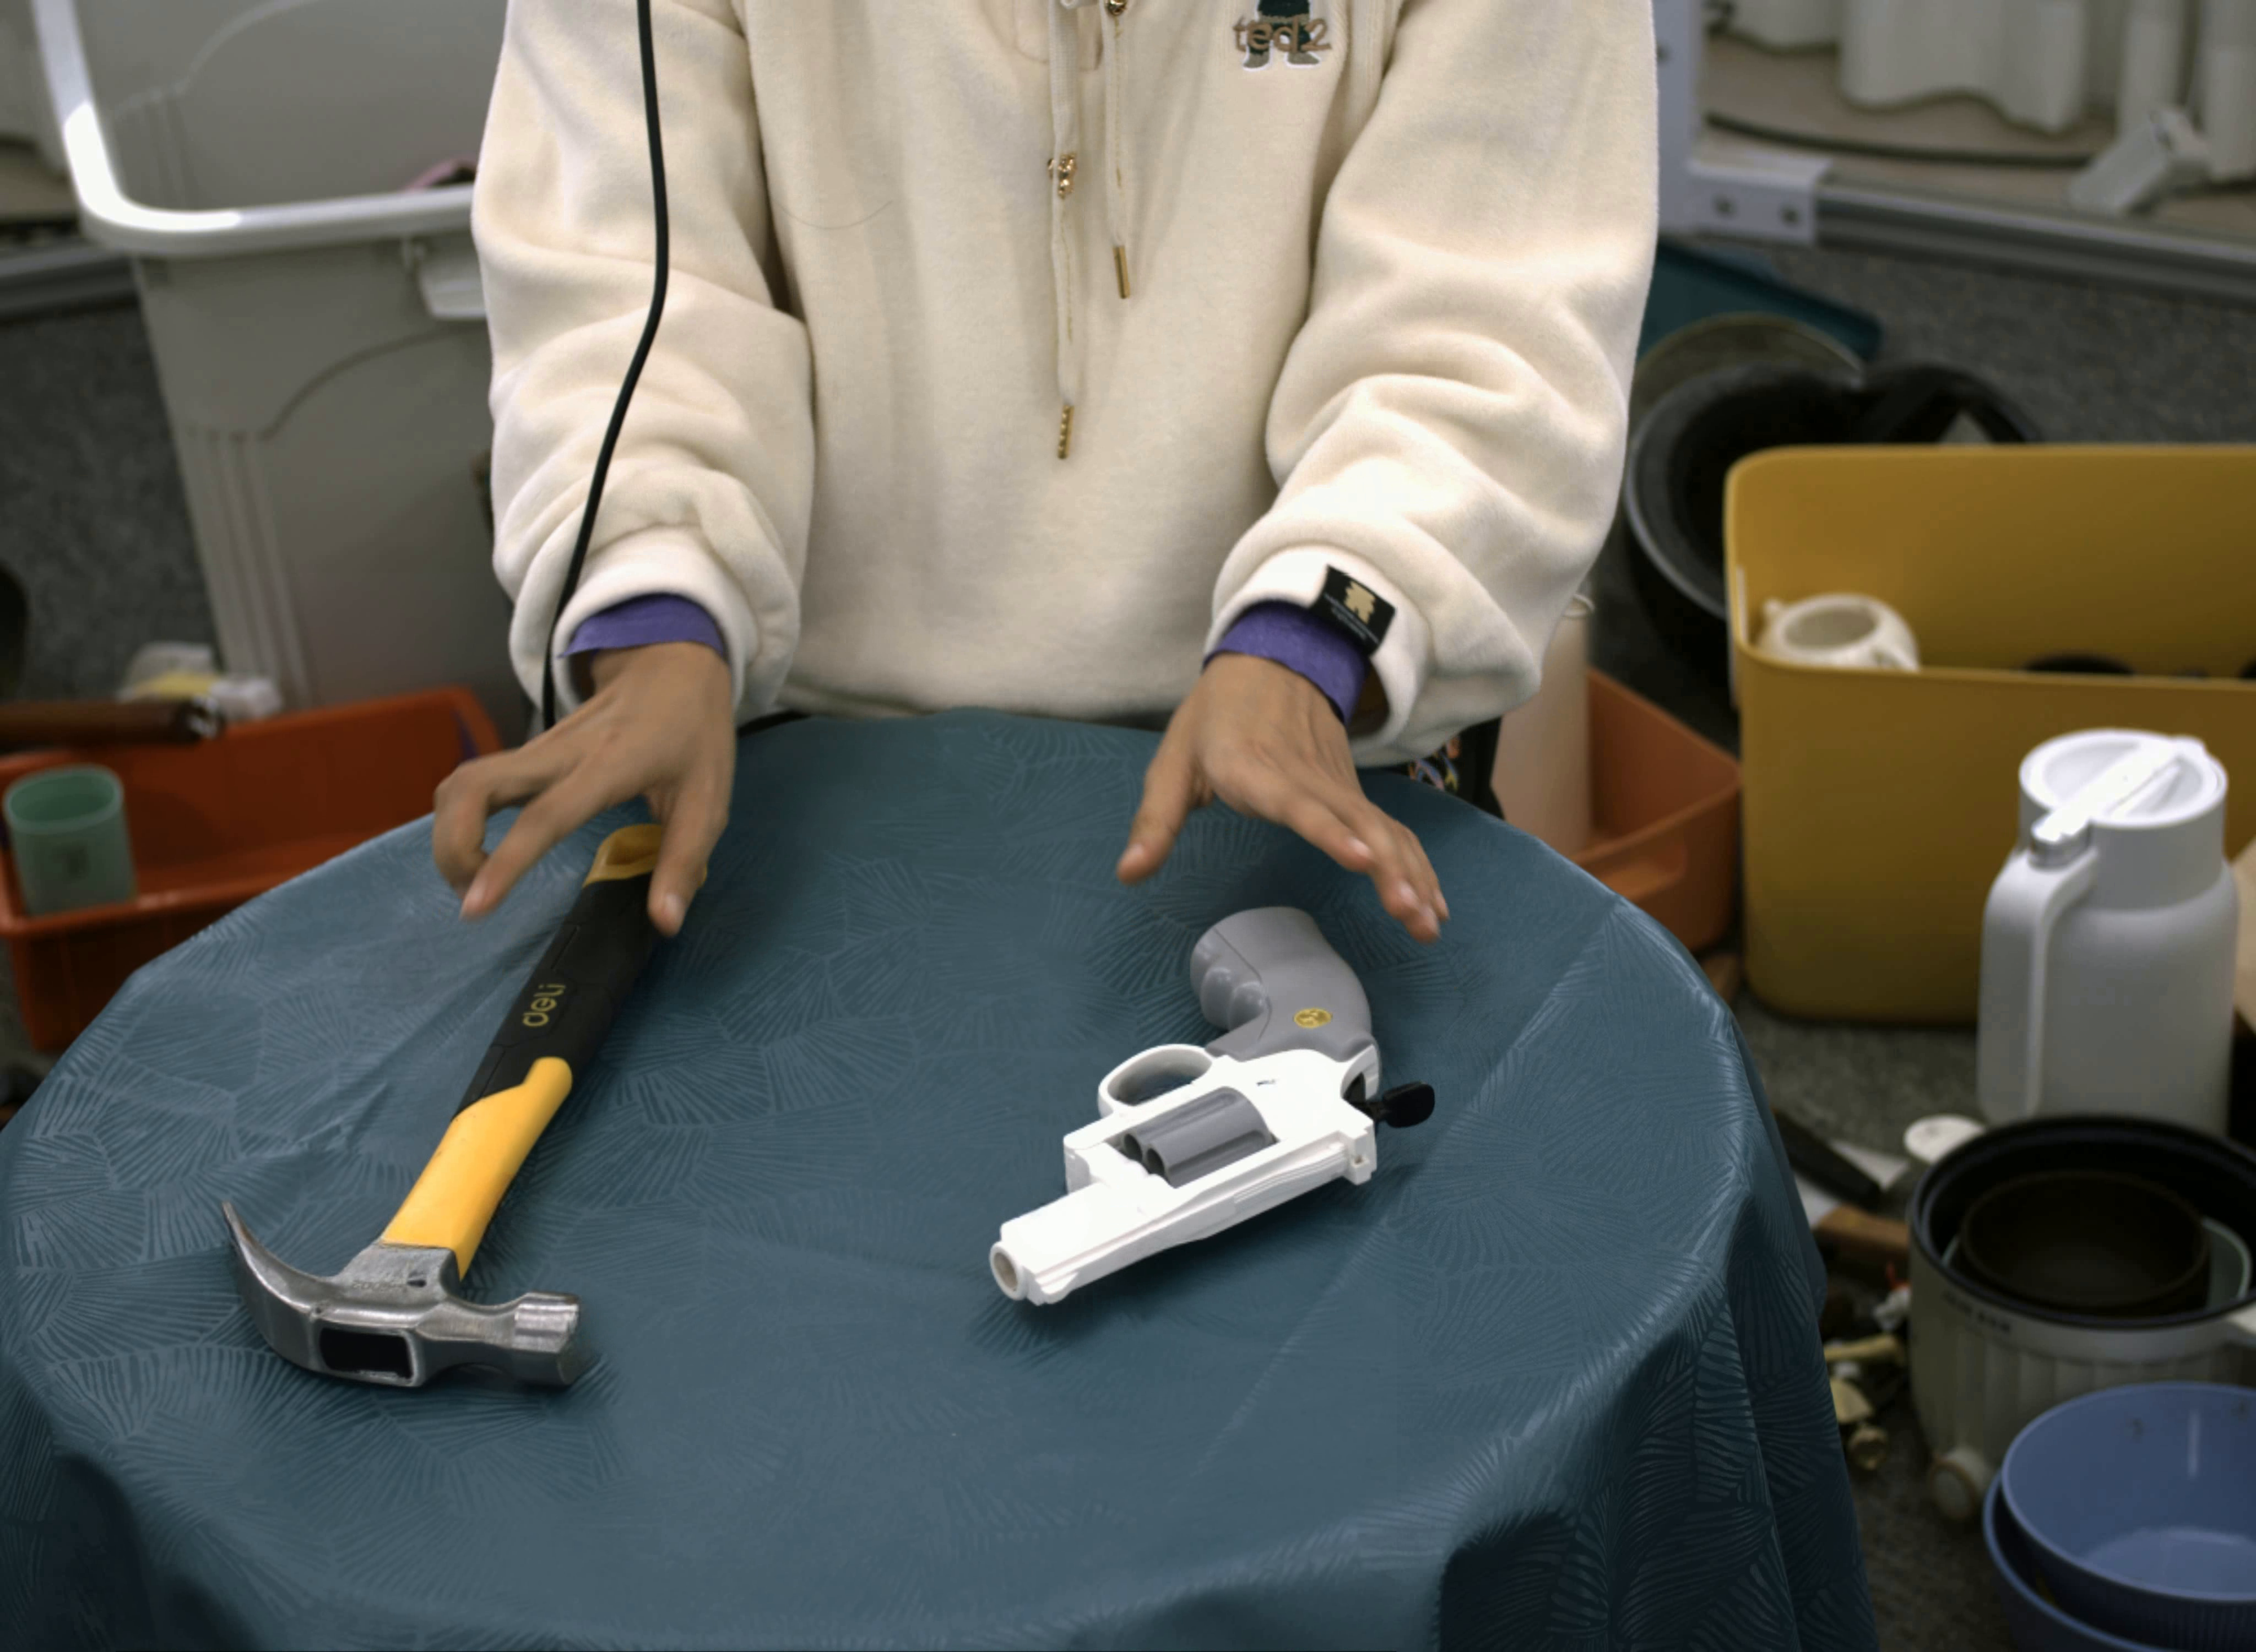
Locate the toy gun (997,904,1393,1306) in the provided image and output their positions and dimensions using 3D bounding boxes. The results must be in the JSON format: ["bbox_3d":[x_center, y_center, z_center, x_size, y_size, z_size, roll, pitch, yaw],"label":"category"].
[{"bbox_3d":[0.017,0.092,1.874,0.211,0.038,0.142,-22,34,-32],"label":"toy gun"}]

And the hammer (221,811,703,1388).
[{"bbox_3d":[-0.207,0.085,1.913,0.130,0.032,0.344,1,29,12],"label":"hammer"}]
